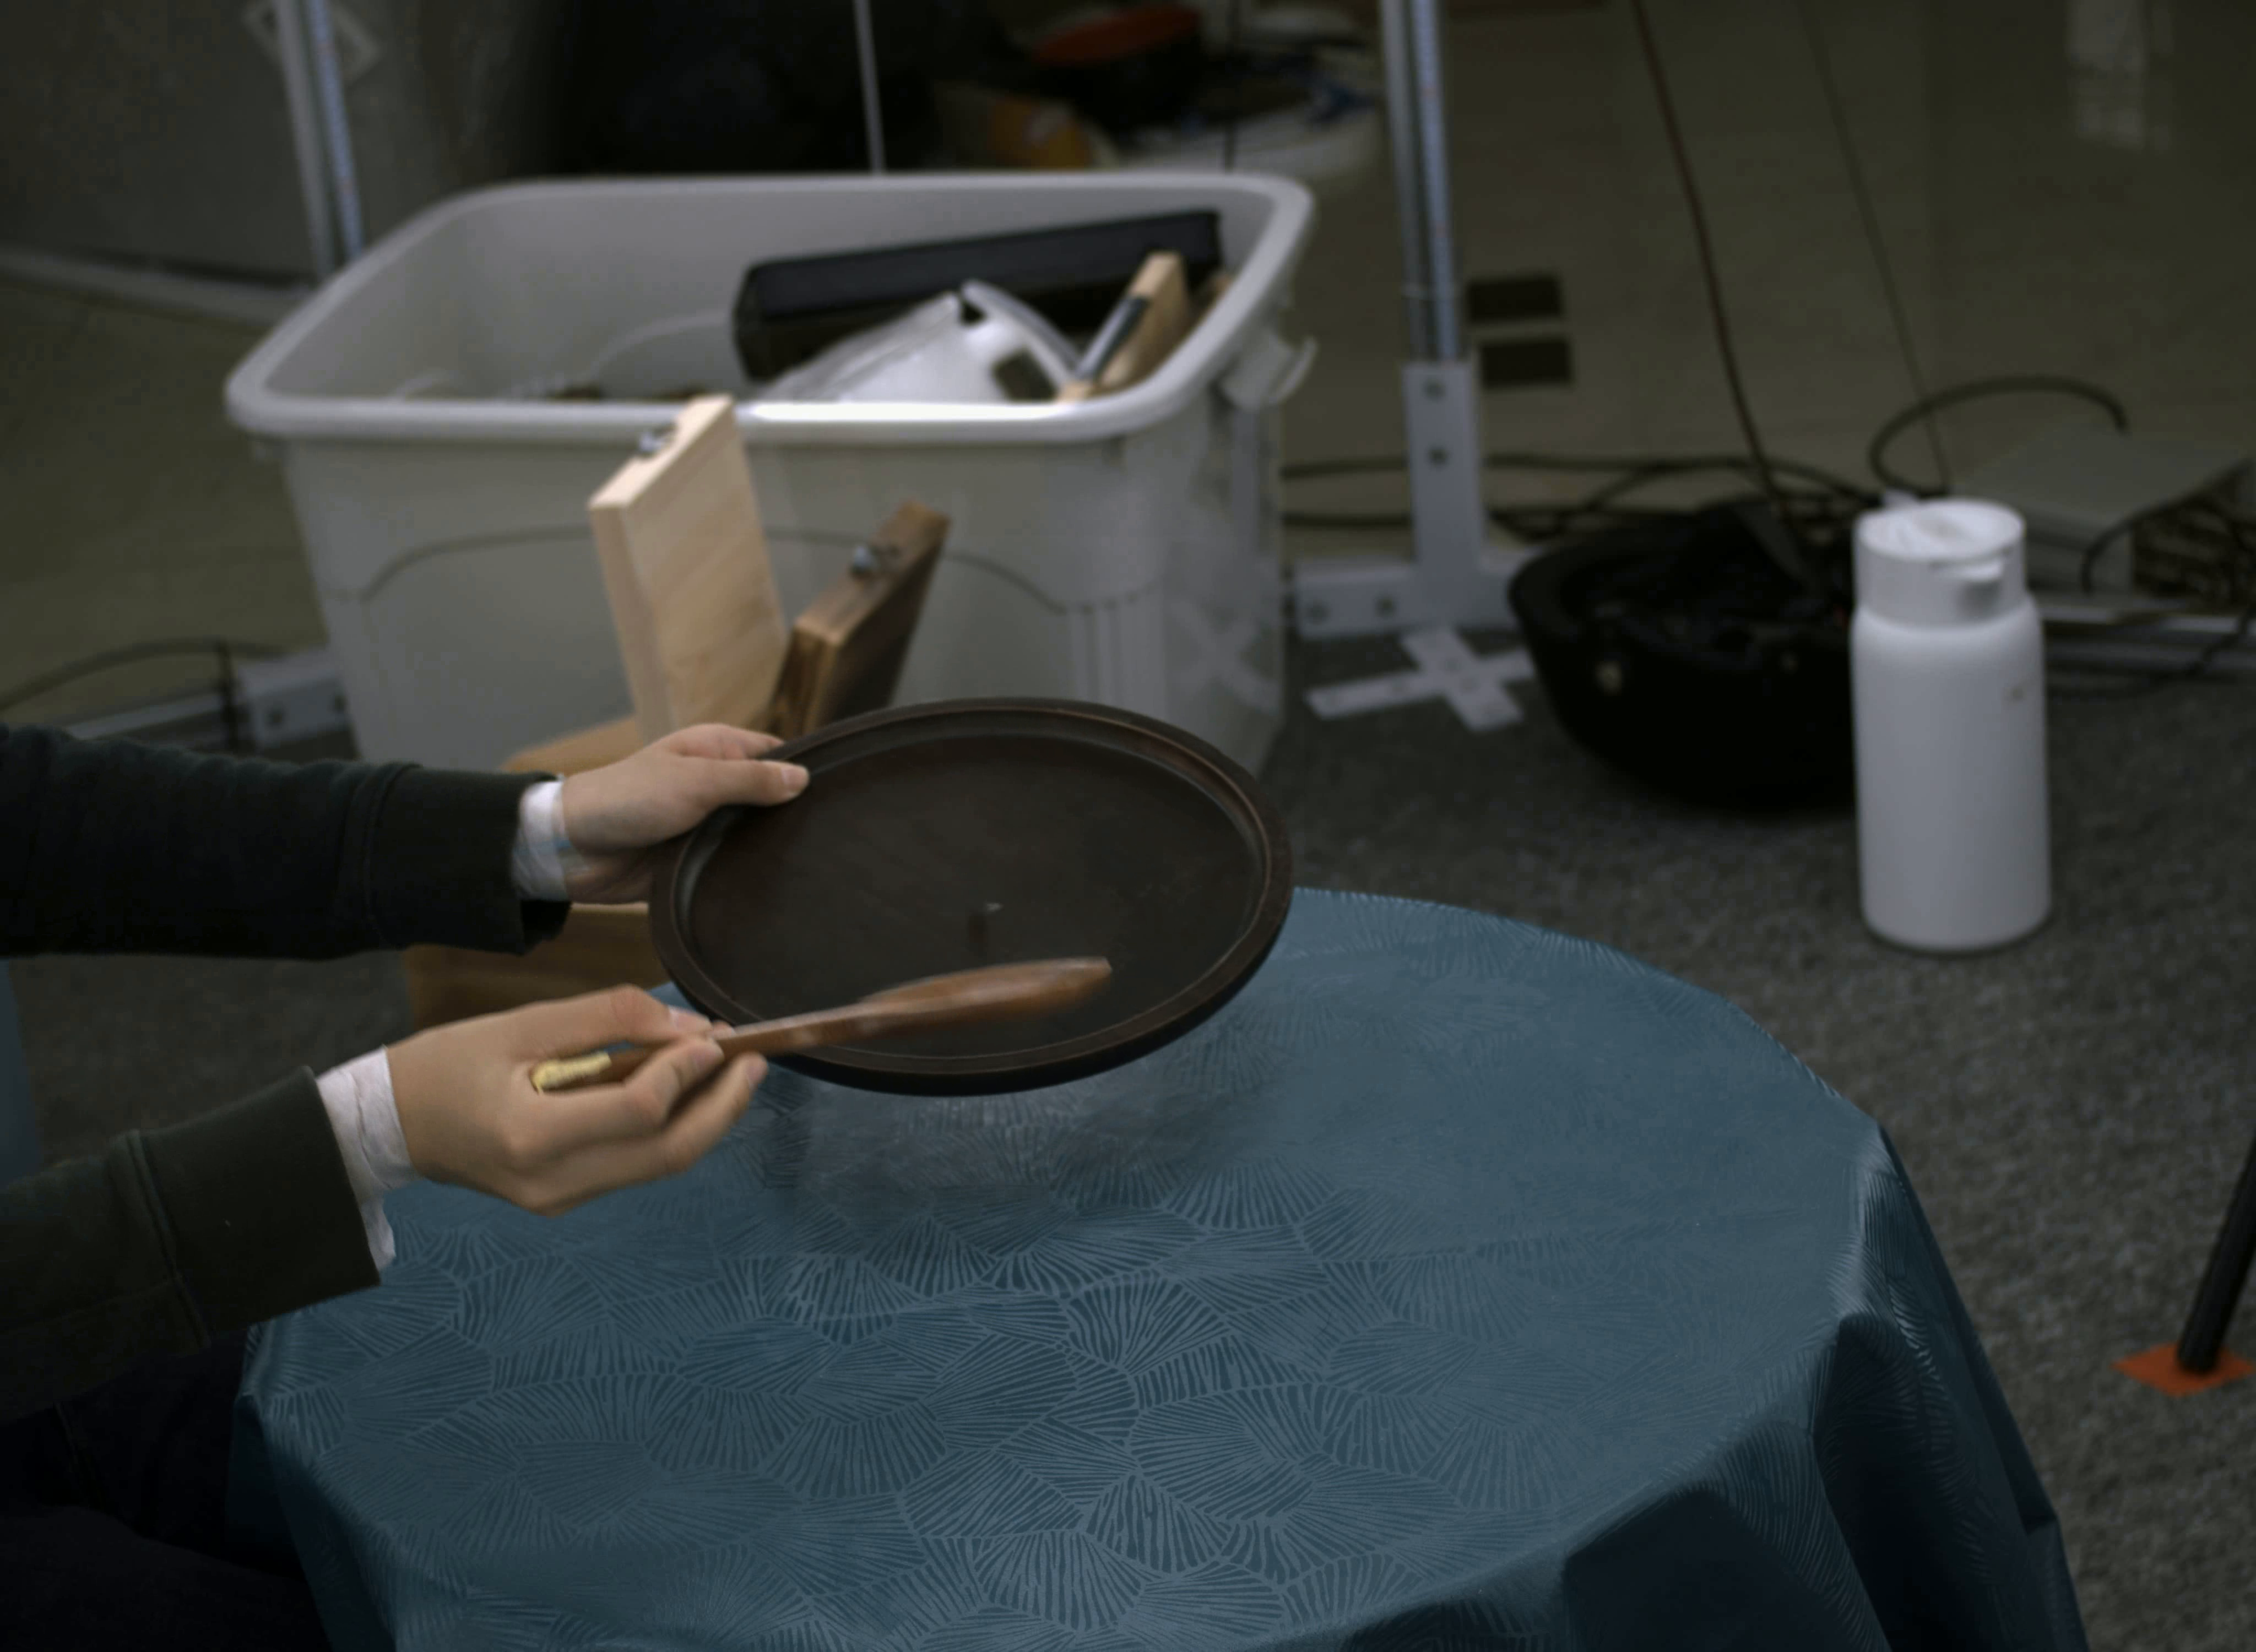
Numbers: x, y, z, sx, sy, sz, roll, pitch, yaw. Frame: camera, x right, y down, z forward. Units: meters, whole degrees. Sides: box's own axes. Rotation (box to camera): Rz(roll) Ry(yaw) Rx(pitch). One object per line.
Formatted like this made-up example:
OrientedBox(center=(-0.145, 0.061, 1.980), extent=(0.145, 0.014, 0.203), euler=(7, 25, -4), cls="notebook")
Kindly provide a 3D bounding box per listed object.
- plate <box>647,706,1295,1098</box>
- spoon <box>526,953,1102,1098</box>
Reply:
OrientedBox(center=(-0.061, 0.028, 2.209), extent=(0.254, 0.029, 0.250), euler=(-2, 35, 1), cls="plate")
OrientedBox(center=(-0.106, 0.068, 1.940), extent=(0.215, 0.017, 0.075), euler=(-10, 7, -28), cls="spoon")
